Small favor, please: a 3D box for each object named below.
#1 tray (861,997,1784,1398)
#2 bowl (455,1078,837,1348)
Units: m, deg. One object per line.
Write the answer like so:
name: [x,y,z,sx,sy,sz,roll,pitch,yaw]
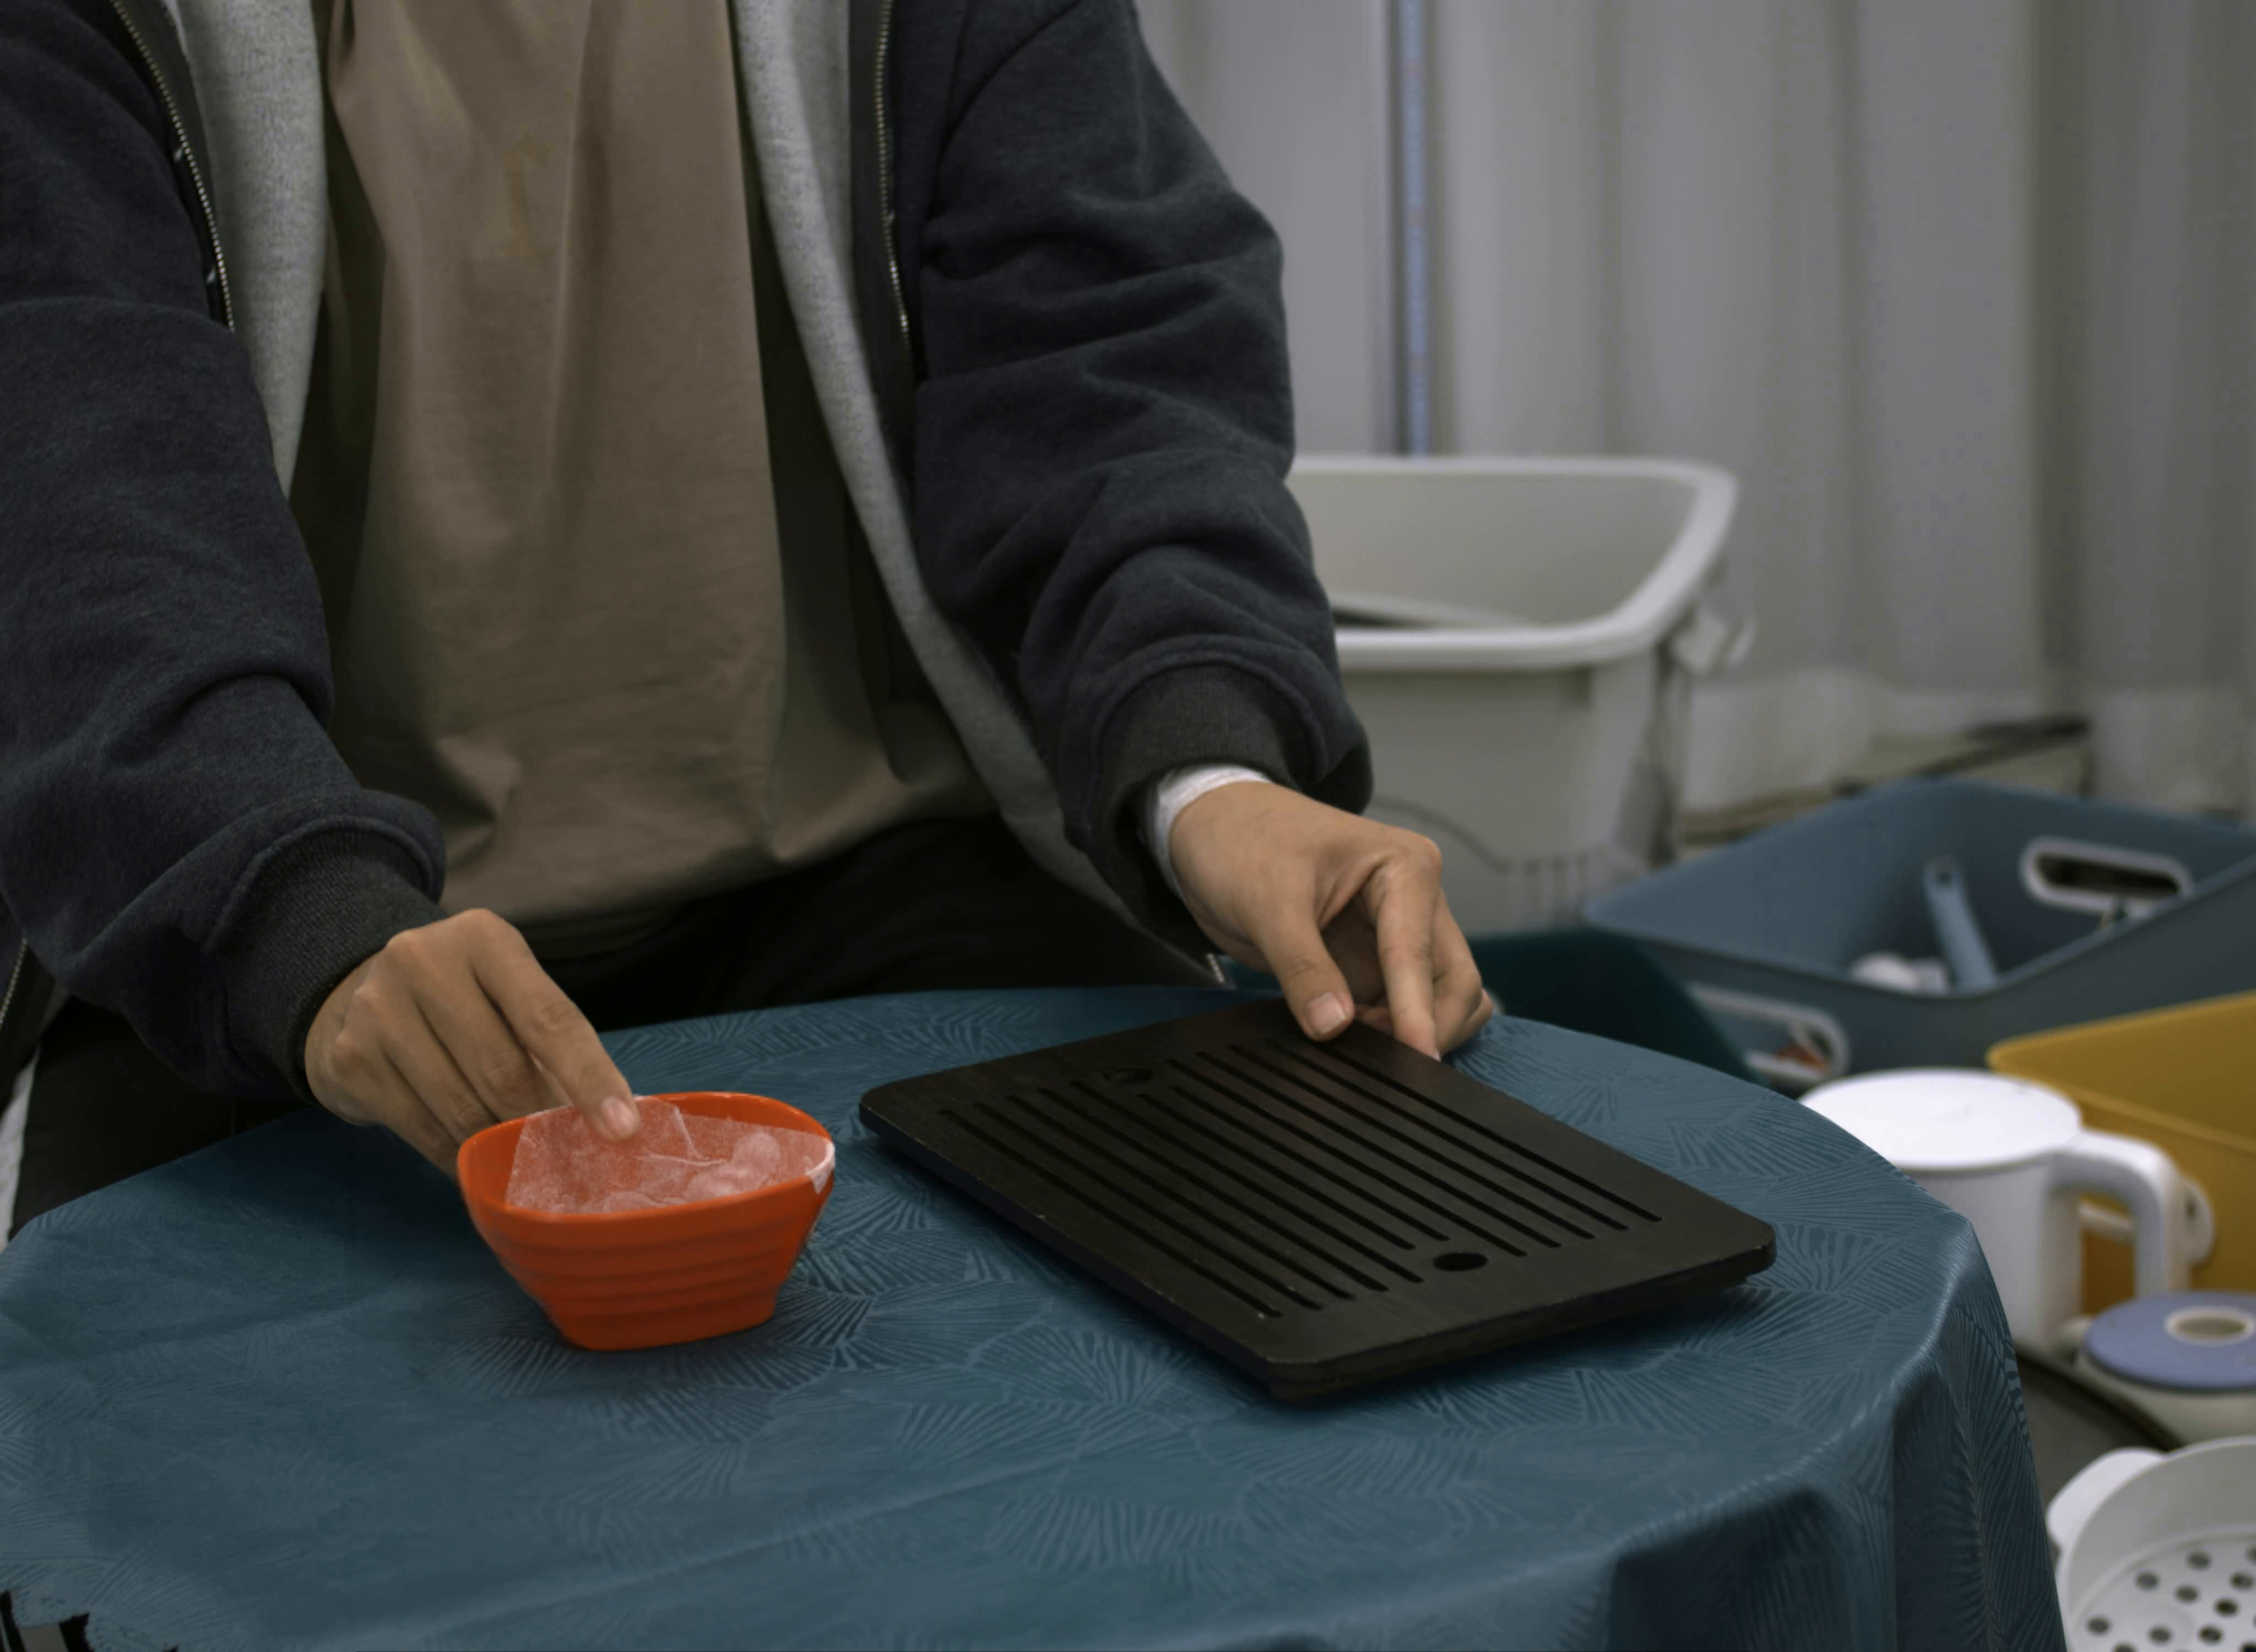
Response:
tray: [0.052,0.110,1.681,0.169,0.018,0.308,-12,17,-24]
bowl: [-0.142,0.118,1.627,0.118,0.051,0.120,-3,17,1]
